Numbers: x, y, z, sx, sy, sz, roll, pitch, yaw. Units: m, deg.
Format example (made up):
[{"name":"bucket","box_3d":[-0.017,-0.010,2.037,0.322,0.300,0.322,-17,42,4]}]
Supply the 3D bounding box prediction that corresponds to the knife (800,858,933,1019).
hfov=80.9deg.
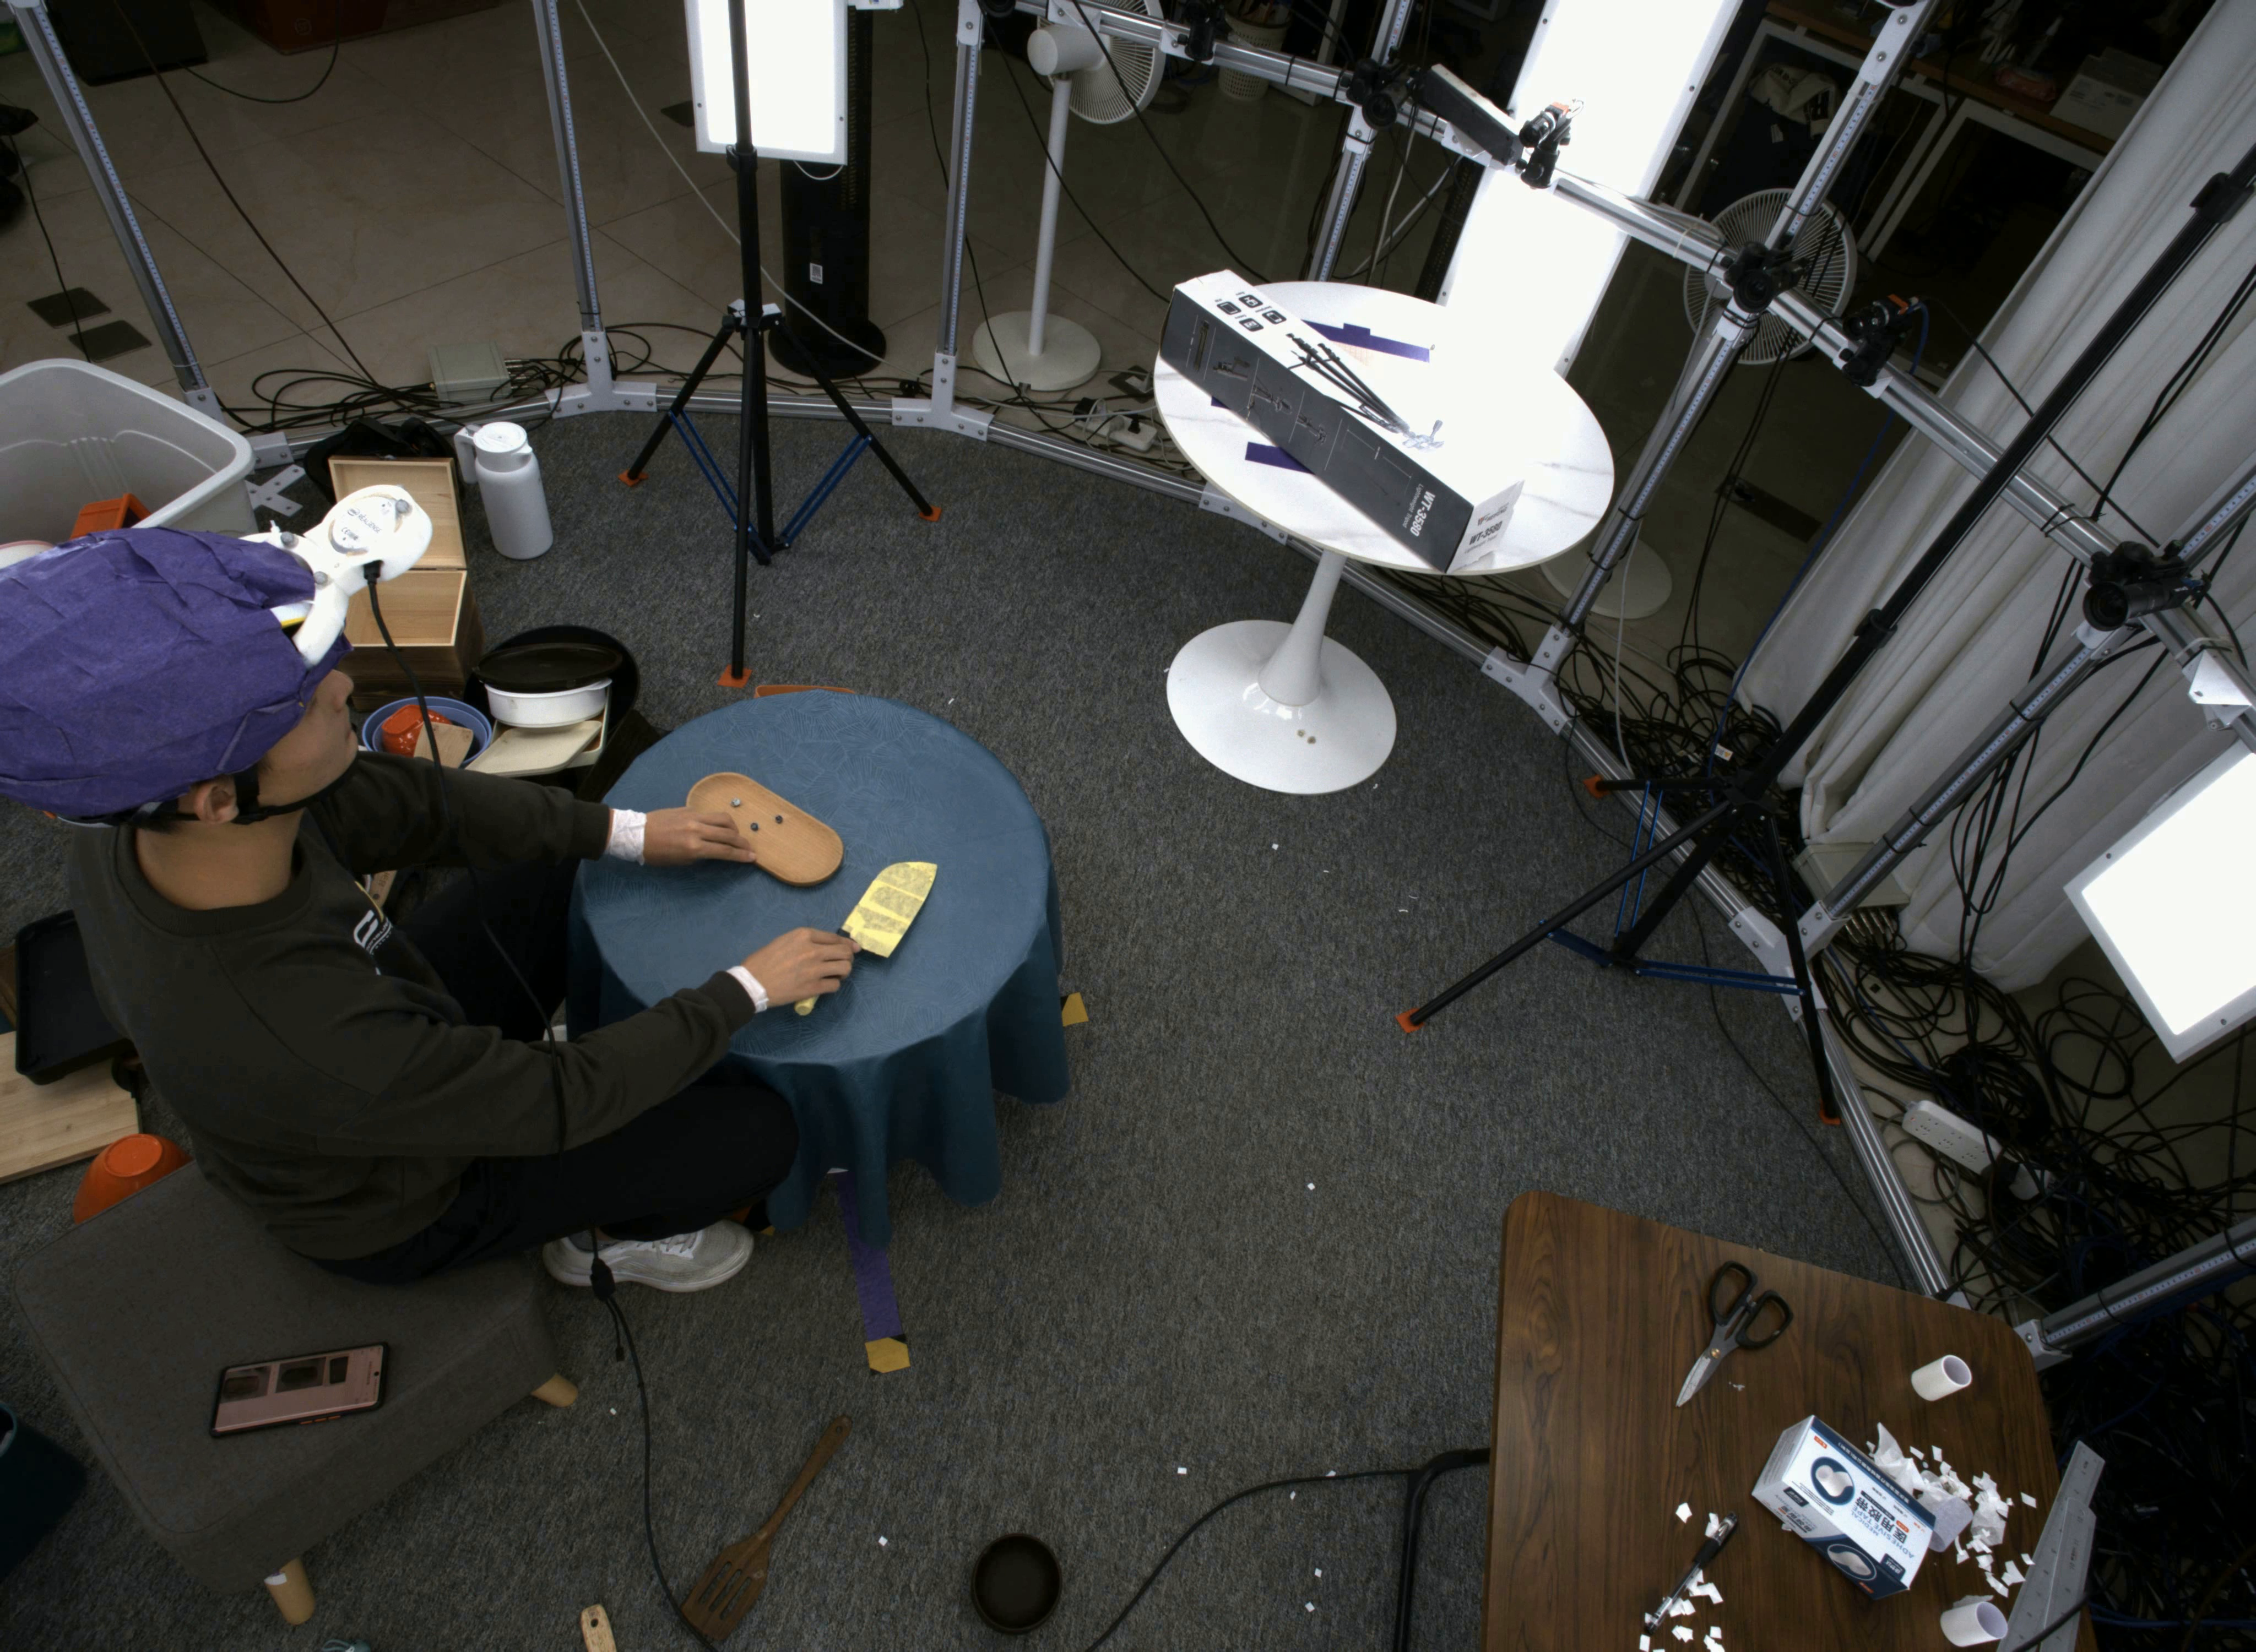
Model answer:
[{"name":"knife","box_3d":[-0.325,0.134,1.637,0.080,0.028,0.287,24,47,6]}]

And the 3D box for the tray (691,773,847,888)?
[{"name":"tray","box_3d":[-0.474,0.004,1.708,0.228,0.021,0.101,31,56,7]}]
